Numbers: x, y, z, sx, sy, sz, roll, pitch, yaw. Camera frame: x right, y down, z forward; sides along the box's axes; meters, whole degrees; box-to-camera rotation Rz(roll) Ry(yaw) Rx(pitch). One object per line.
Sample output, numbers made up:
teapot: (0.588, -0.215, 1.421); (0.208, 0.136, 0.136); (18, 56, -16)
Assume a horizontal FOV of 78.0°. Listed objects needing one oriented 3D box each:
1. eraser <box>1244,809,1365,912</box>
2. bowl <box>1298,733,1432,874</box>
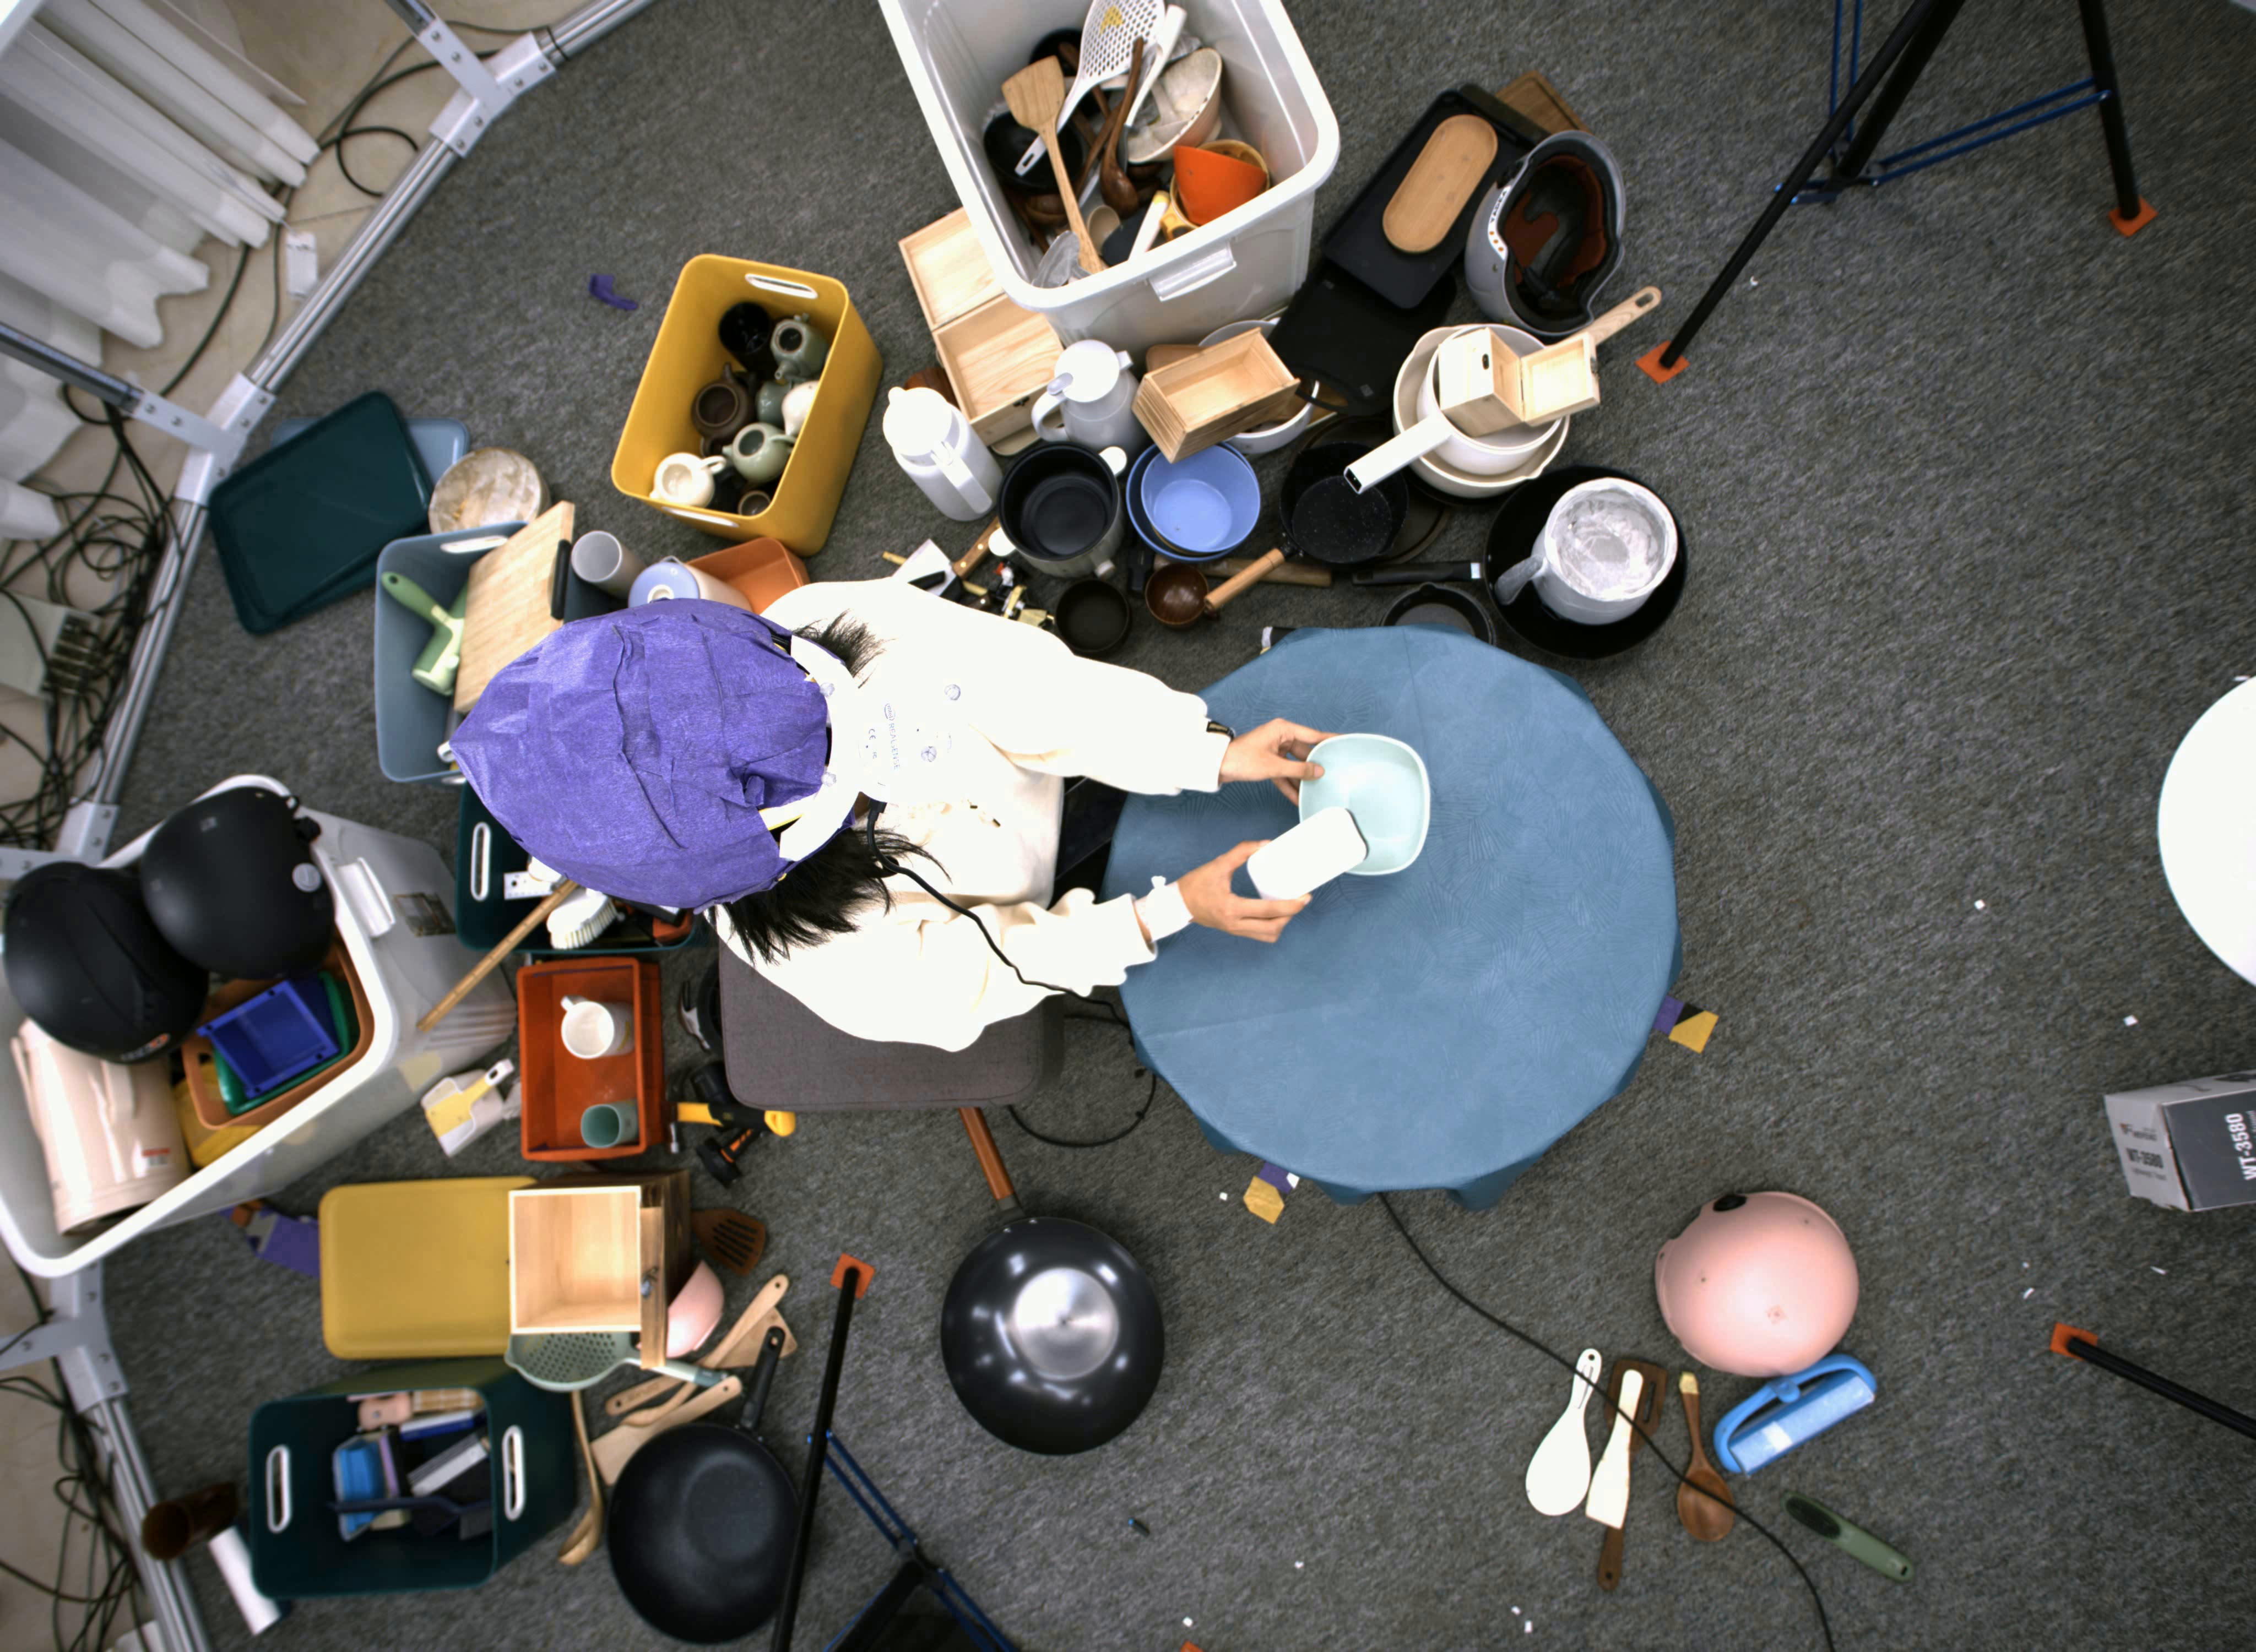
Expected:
eraser: (0.170, 0.032, 1.352); (0.134, 0.034, 0.063); (-34, 76, 41)
bowl: (0.244, -0.024, 1.374); (0.152, 0.058, 0.152); (3, 96, 33)
